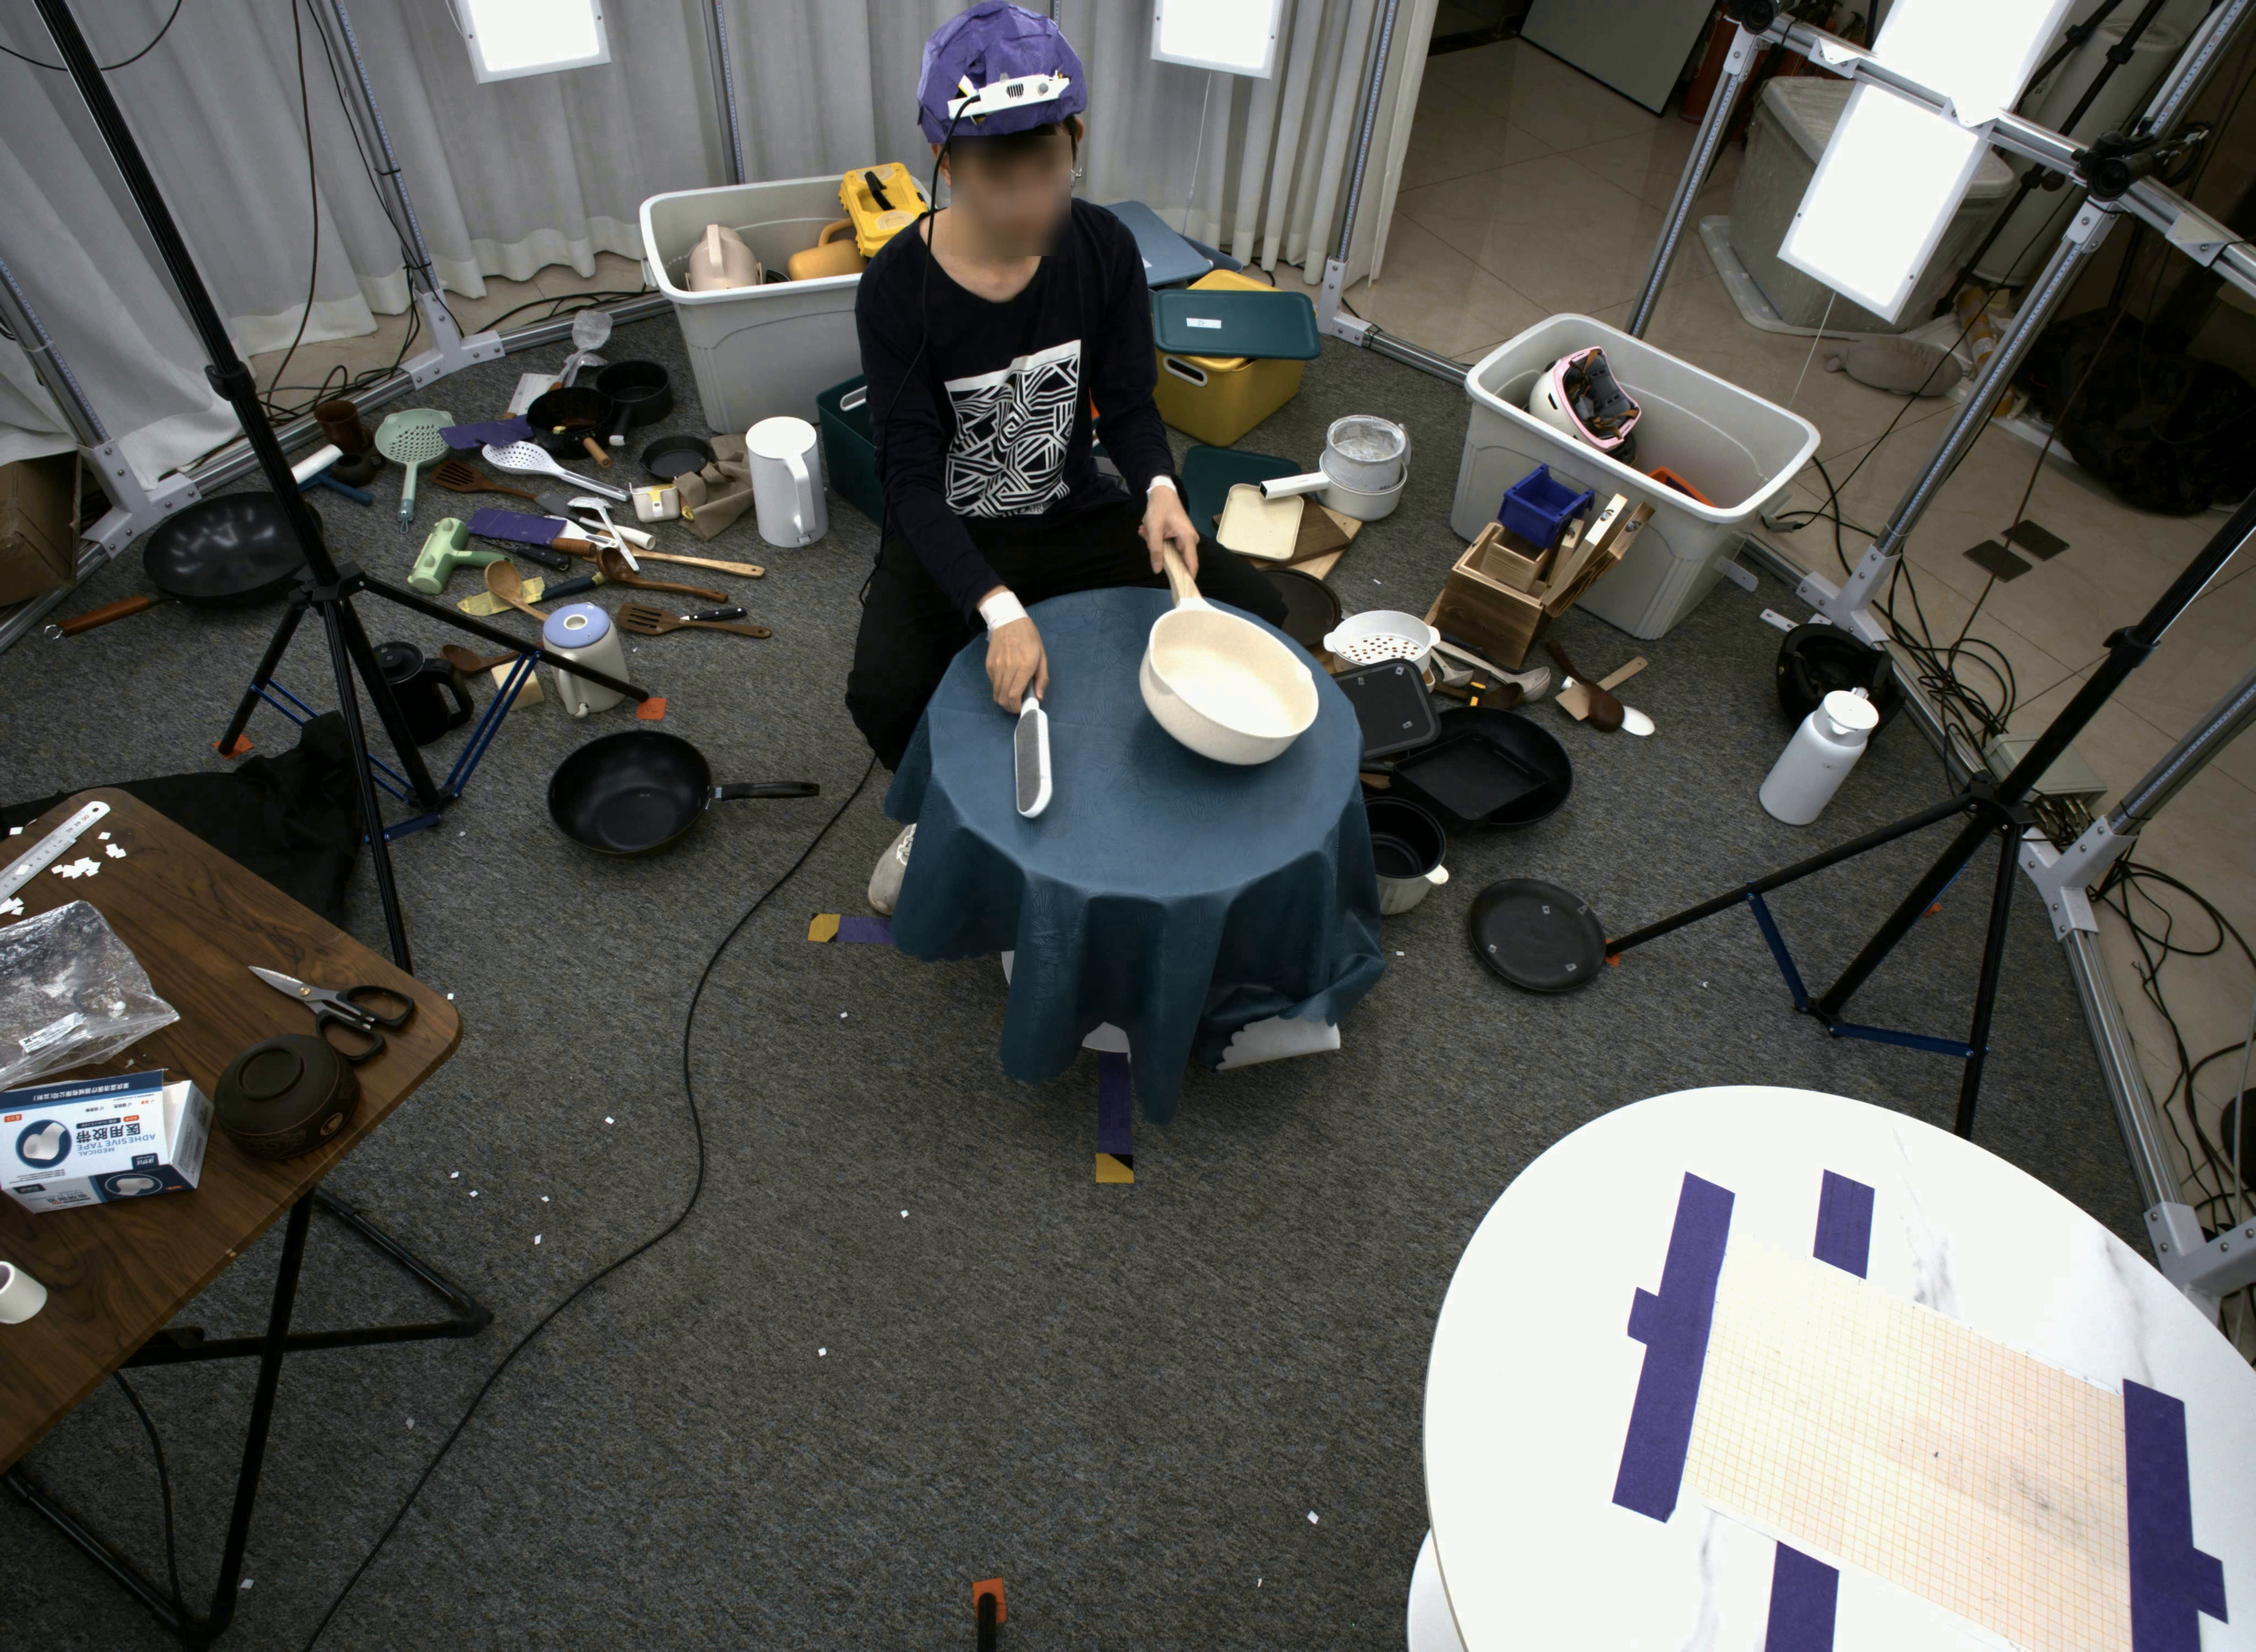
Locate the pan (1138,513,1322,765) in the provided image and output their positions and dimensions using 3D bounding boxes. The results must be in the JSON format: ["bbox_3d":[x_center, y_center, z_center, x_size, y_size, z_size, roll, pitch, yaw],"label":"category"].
[{"bbox_3d":[0.099,-0.260,1.798,0.263,0.100,0.445,-6,52,-29],"label":"pan"}]

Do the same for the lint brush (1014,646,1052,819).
[{"bbox_3d":[-0.132,-0.135,1.736,0.020,0.059,0.317,28,38,-34],"label":"lint brush"}]
